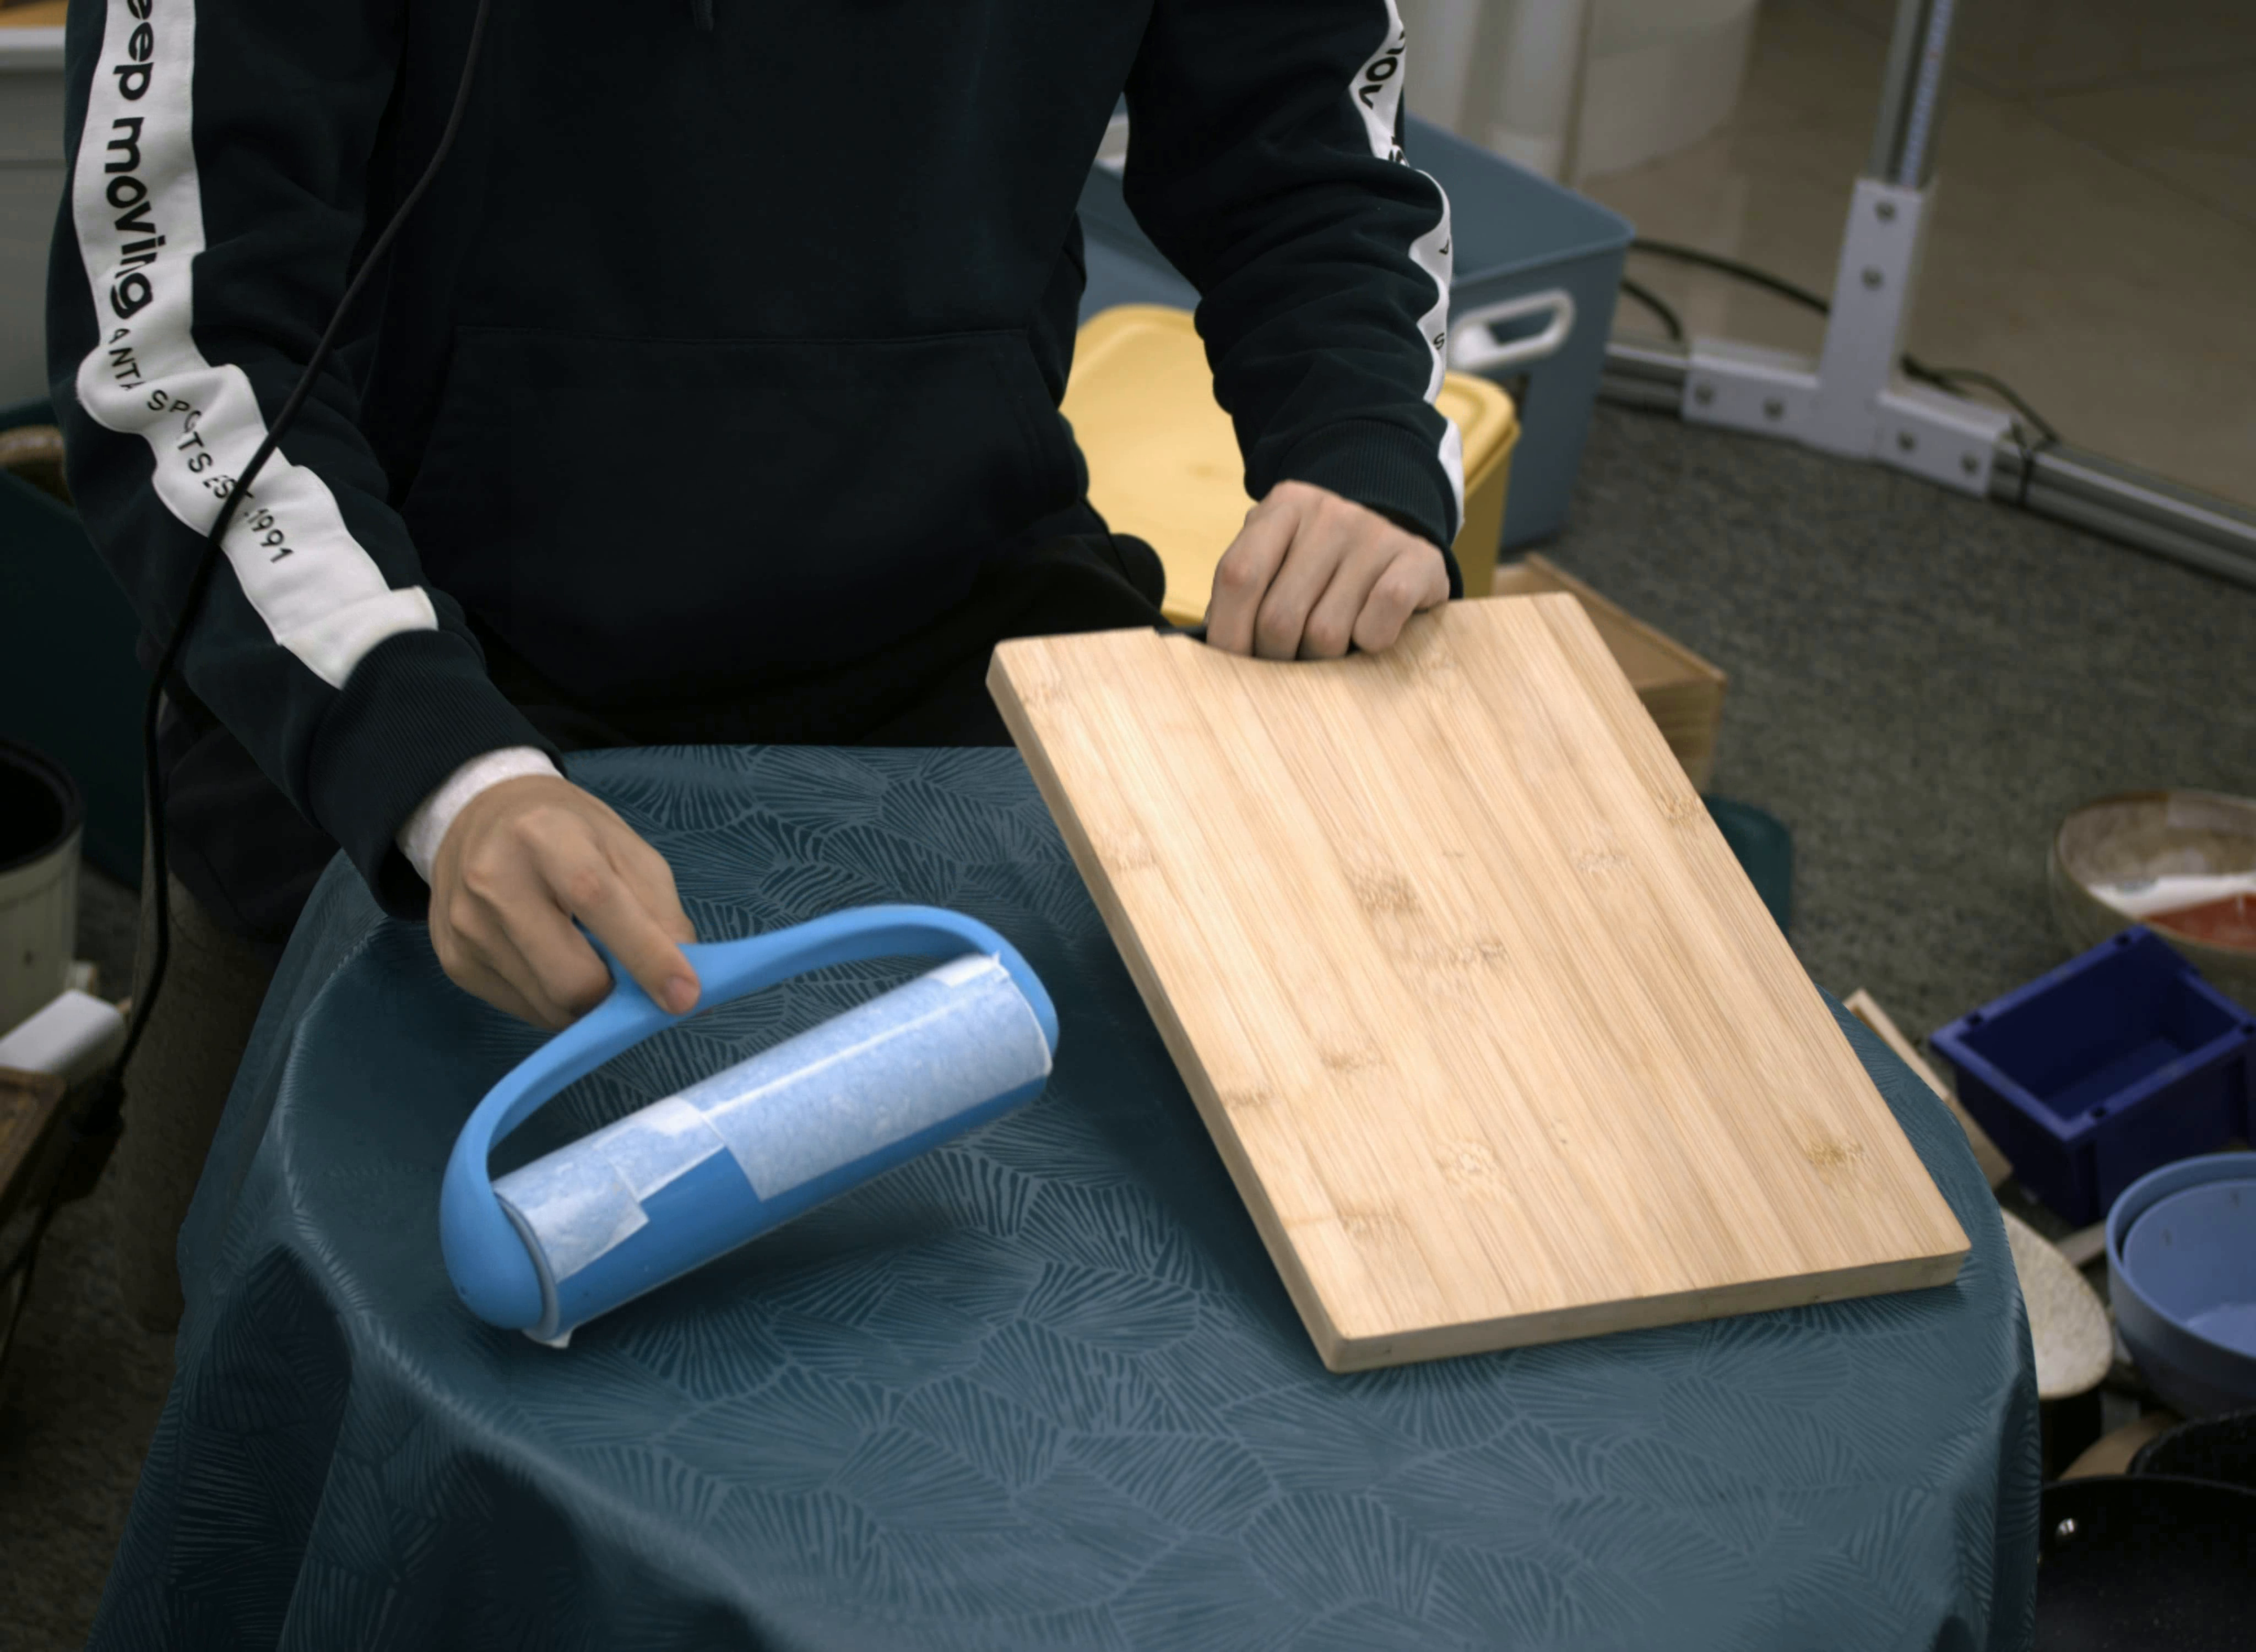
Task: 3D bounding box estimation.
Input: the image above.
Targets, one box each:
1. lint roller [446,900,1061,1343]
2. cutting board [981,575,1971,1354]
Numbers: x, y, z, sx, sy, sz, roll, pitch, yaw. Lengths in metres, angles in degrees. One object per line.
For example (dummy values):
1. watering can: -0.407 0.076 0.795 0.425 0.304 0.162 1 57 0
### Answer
1. lint roller: -0.155 0.069 1.746 0.228 0.067 0.182 -29 50 -29
2. cutting board: 0.115 0.041 1.865 0.249 0.023 0.352 -6 46 -23
